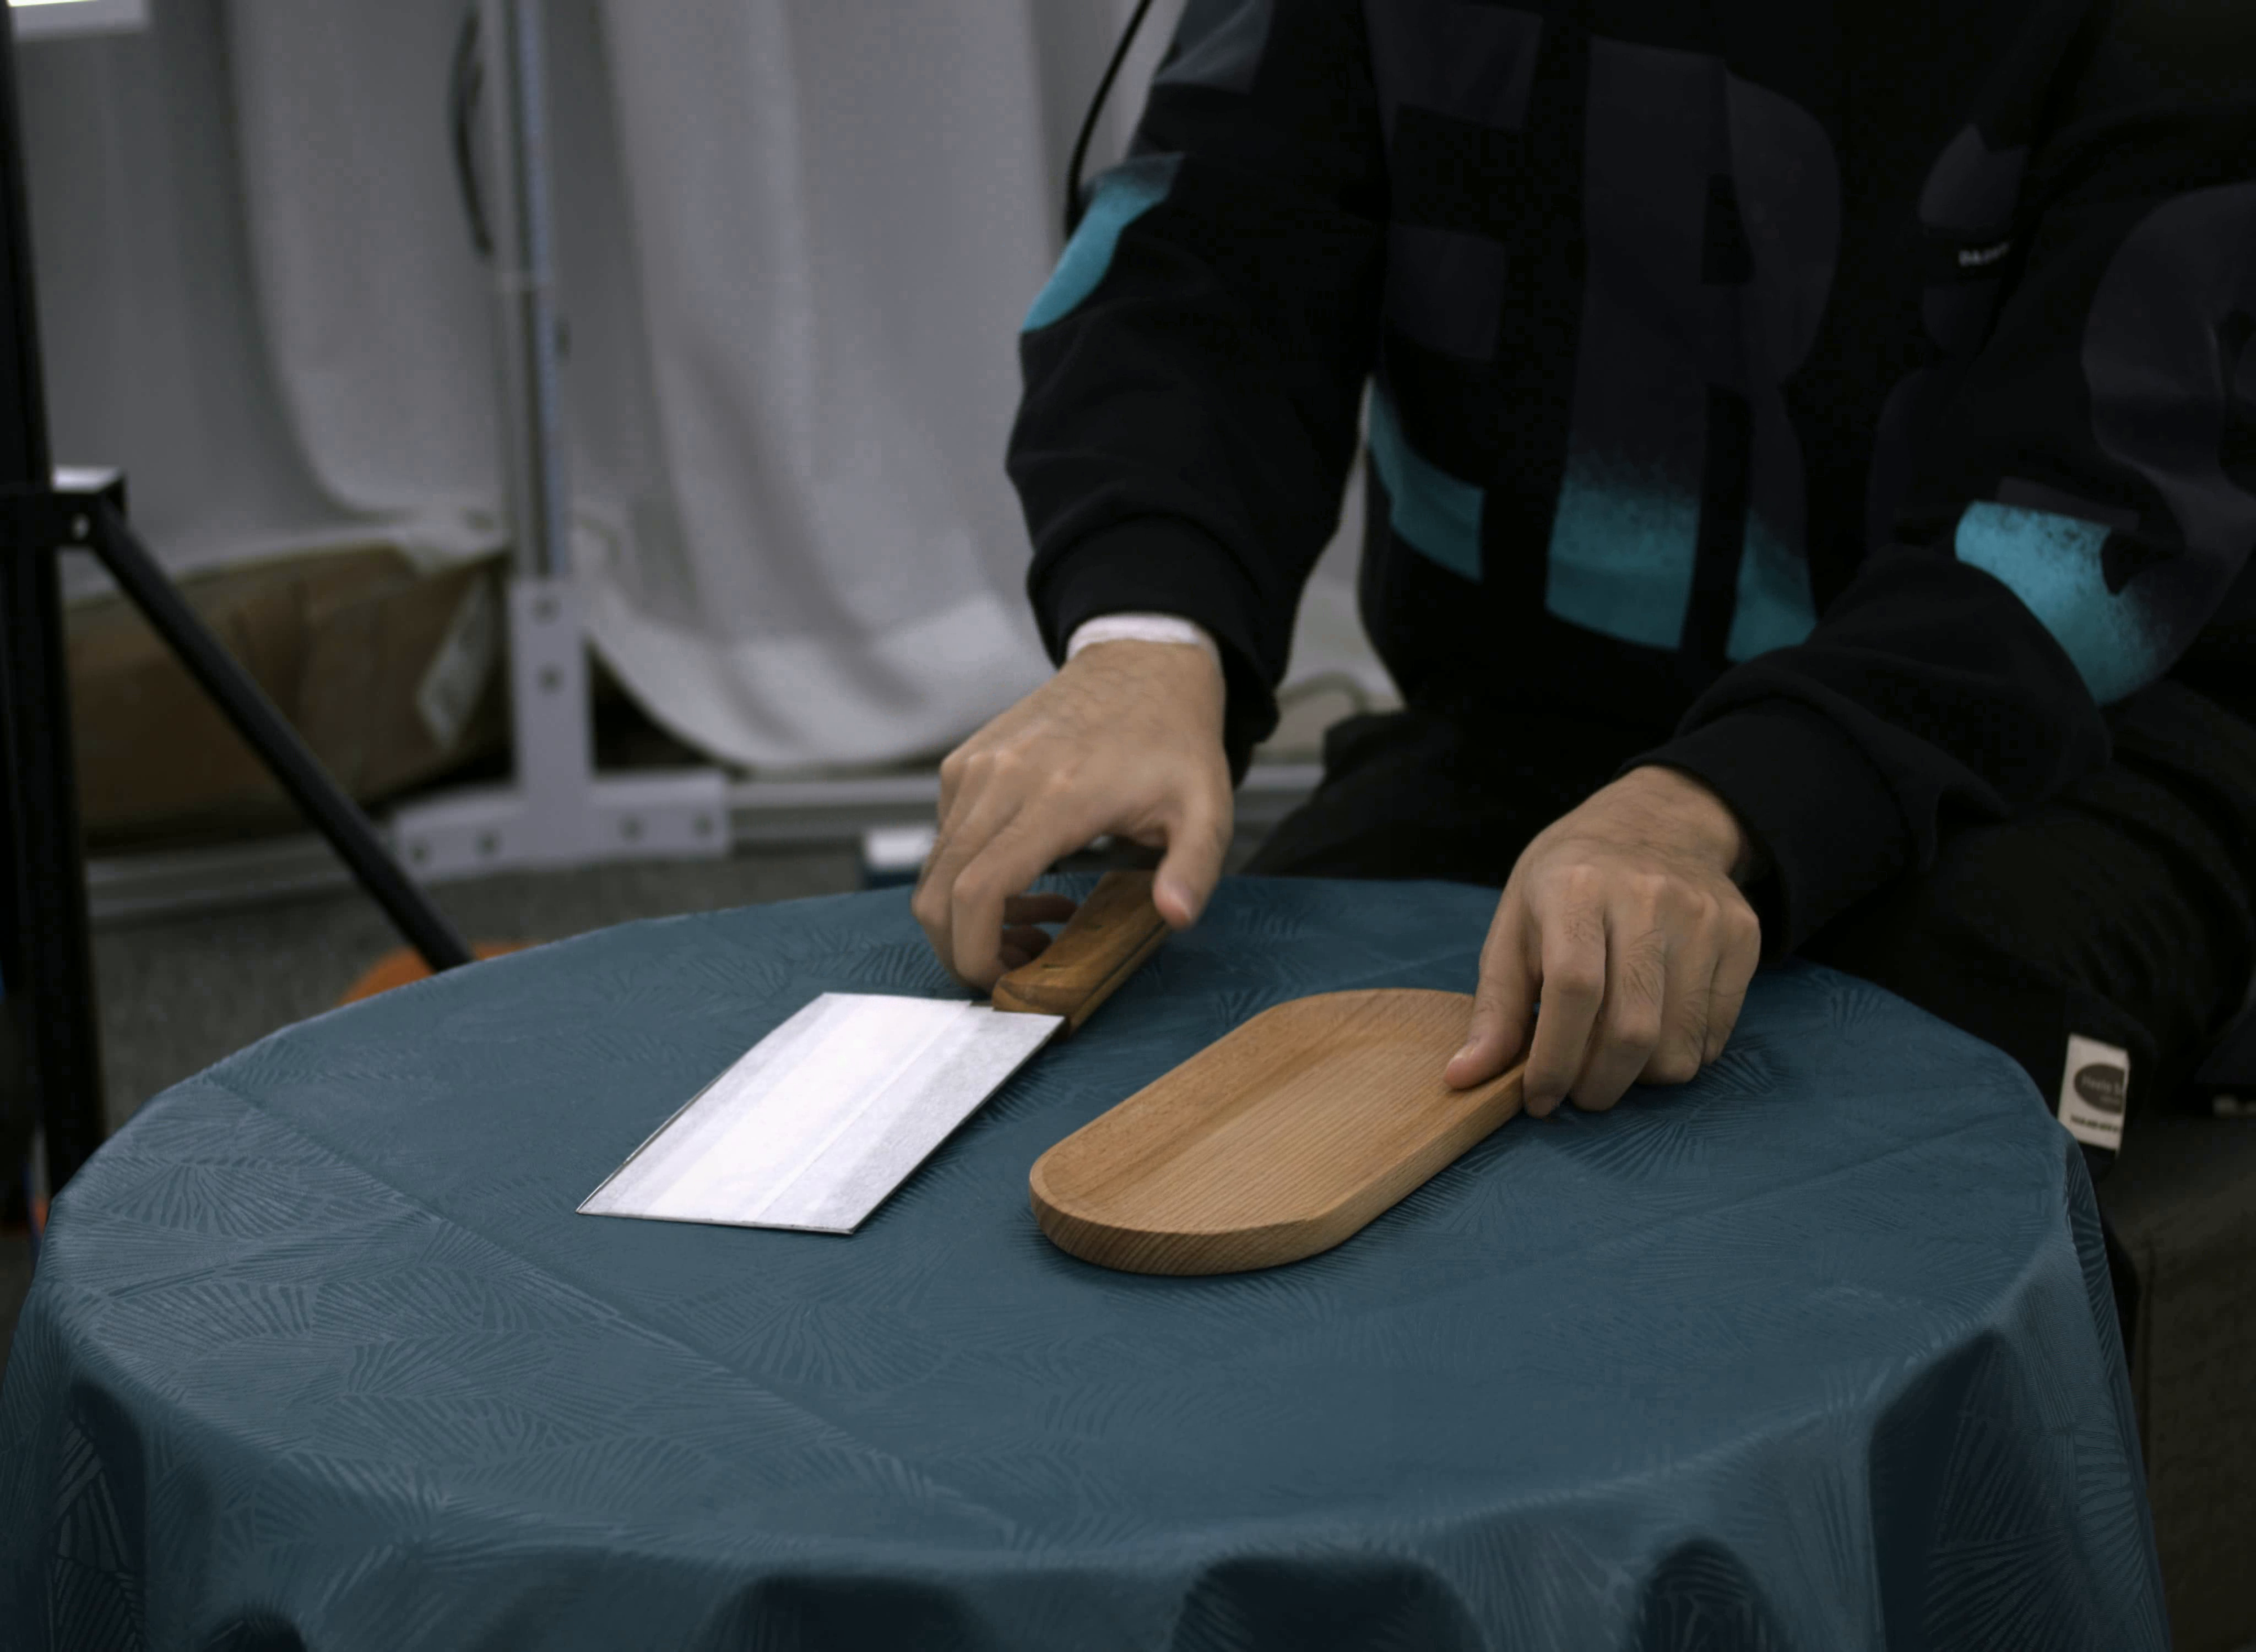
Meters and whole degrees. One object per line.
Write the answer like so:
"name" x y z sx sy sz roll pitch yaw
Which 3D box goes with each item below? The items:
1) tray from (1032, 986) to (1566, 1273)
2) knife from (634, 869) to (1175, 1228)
"tray" 0.054 0.089 1.585 0.103 0.020 0.227 8 18 28
"knife" -0.069 0.068 1.681 0.094 0.021 0.302 2 19 20
